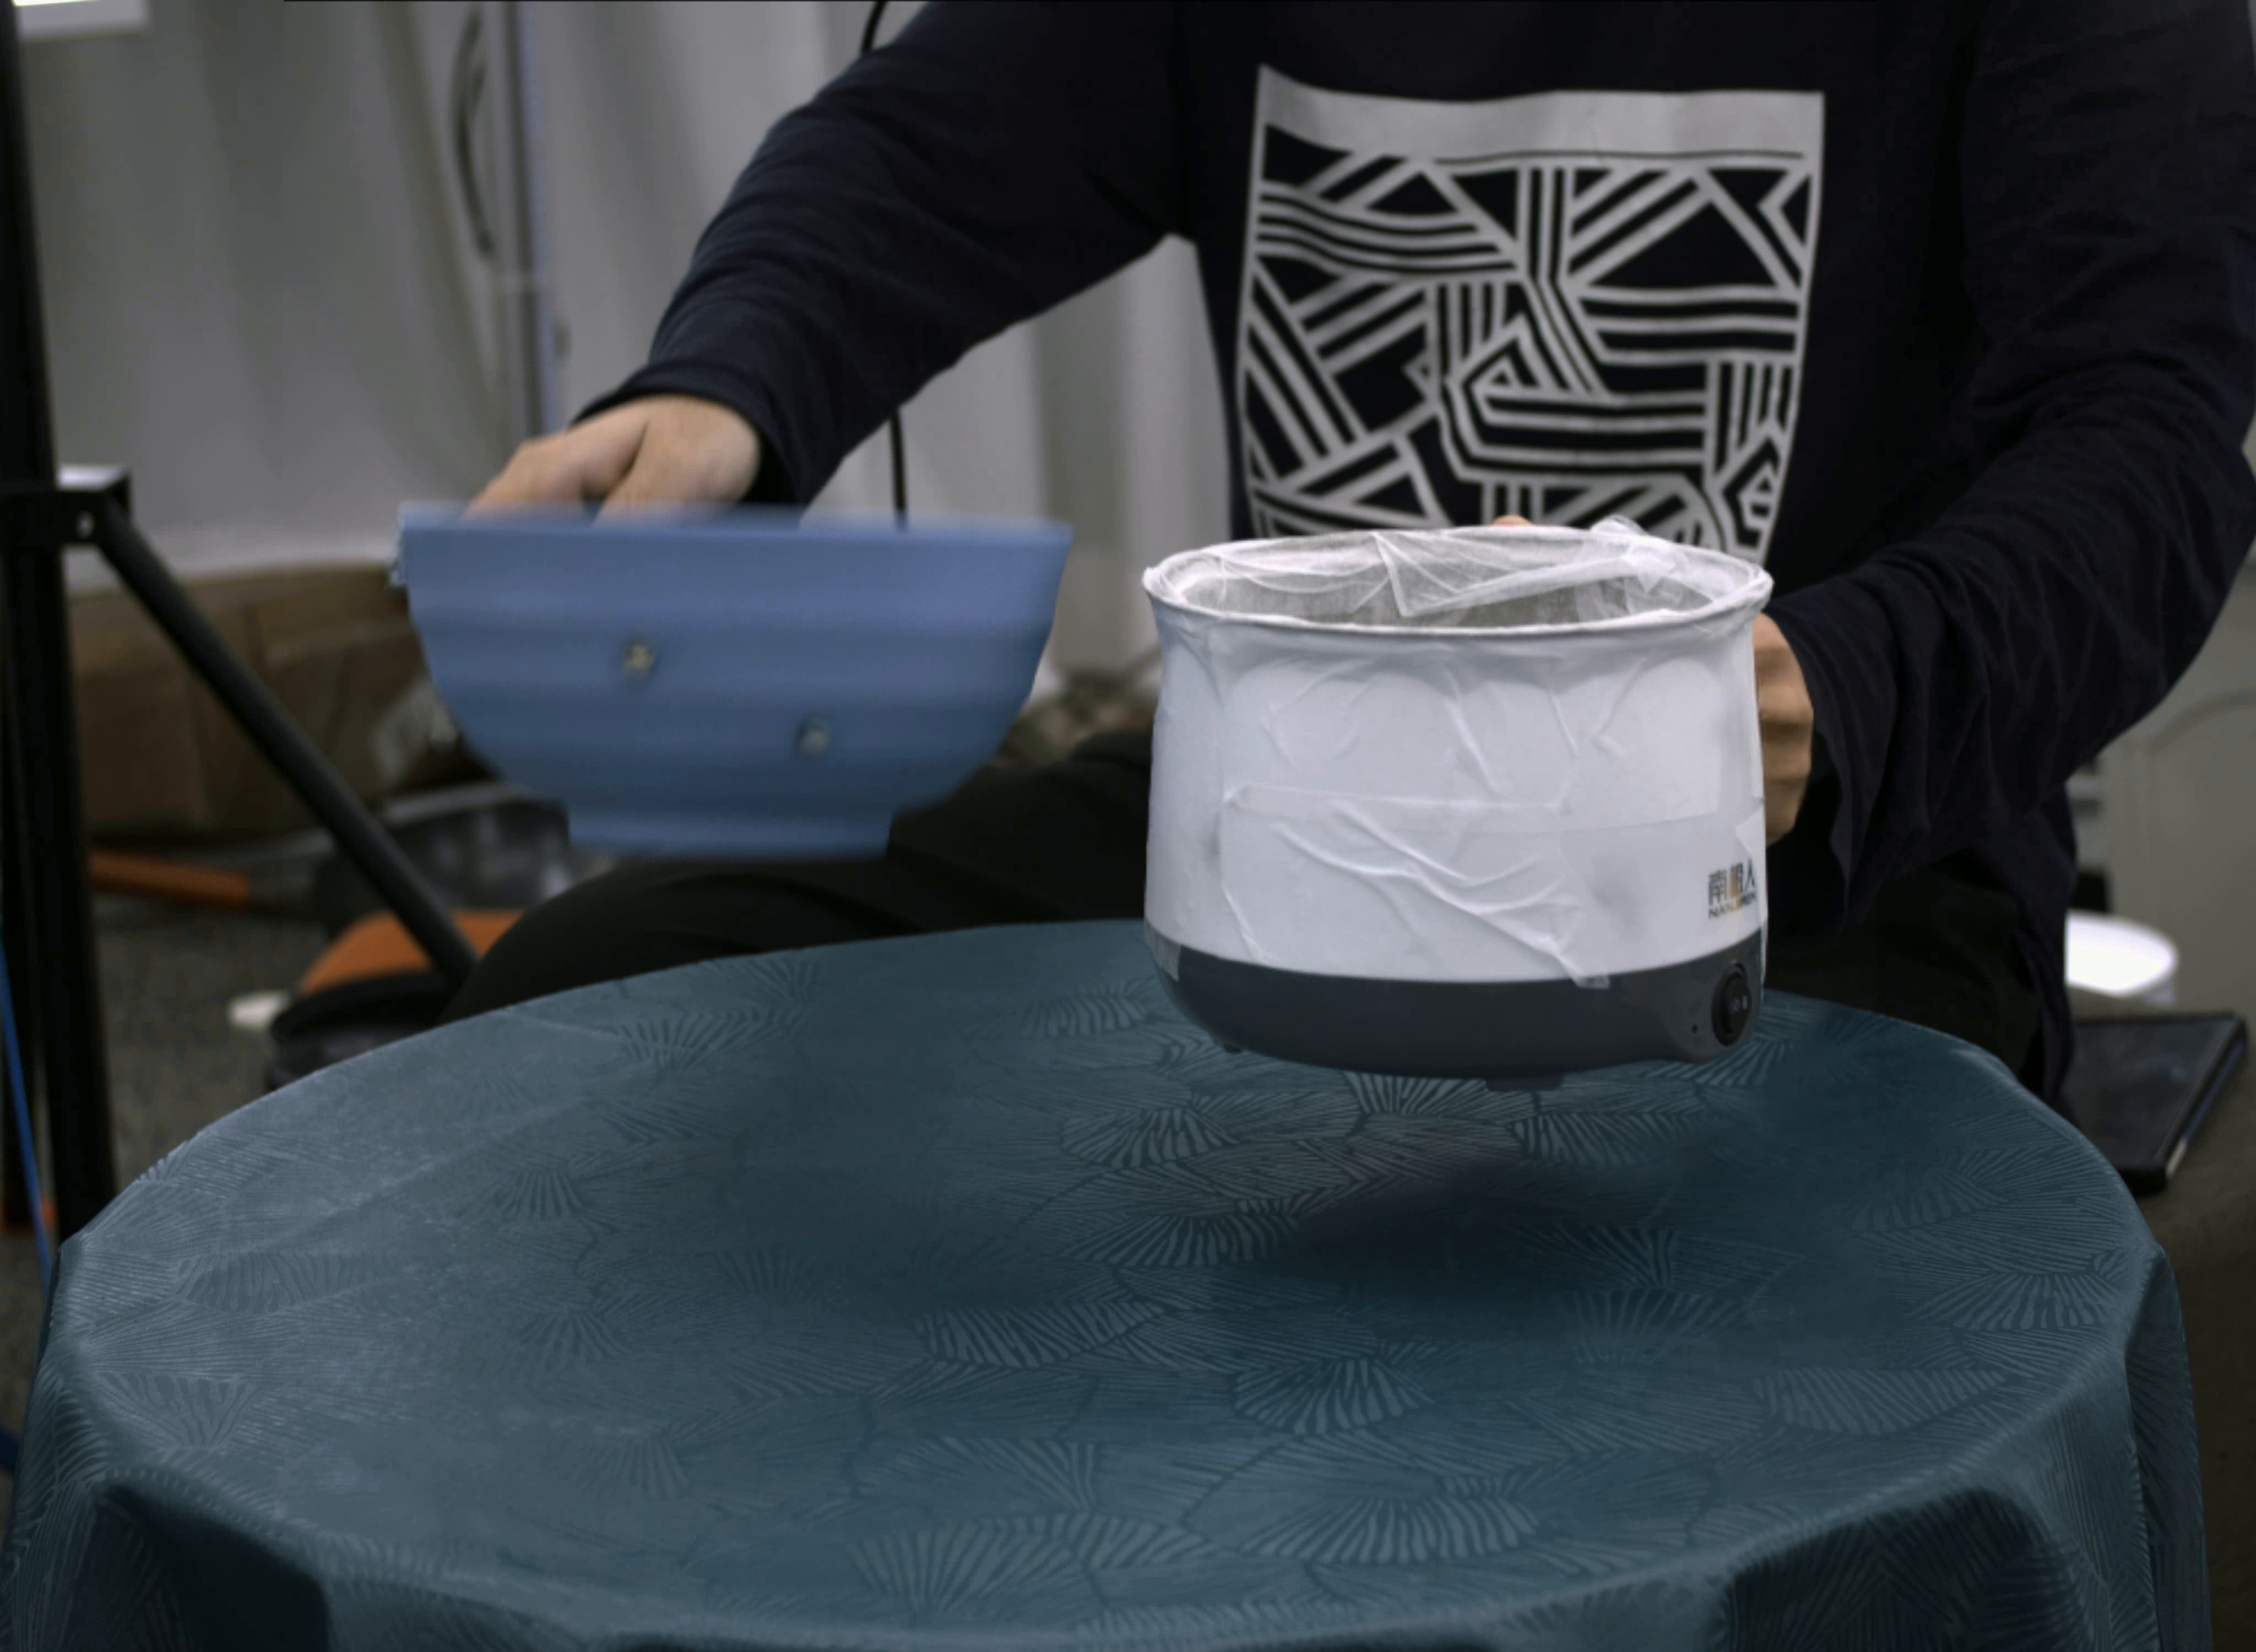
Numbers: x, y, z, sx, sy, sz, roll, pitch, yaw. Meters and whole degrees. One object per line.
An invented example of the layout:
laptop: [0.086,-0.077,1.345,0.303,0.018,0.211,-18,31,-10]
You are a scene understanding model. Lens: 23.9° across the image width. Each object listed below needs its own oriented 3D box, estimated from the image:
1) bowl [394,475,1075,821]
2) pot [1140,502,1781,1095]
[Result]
bowl: [-0.112,-0.051,1.537,0.195,0.096,0.197,-1,2,-1]
pot: [0.106,-0.015,1.522,0.182,0.137,0.229,9,16,30]
